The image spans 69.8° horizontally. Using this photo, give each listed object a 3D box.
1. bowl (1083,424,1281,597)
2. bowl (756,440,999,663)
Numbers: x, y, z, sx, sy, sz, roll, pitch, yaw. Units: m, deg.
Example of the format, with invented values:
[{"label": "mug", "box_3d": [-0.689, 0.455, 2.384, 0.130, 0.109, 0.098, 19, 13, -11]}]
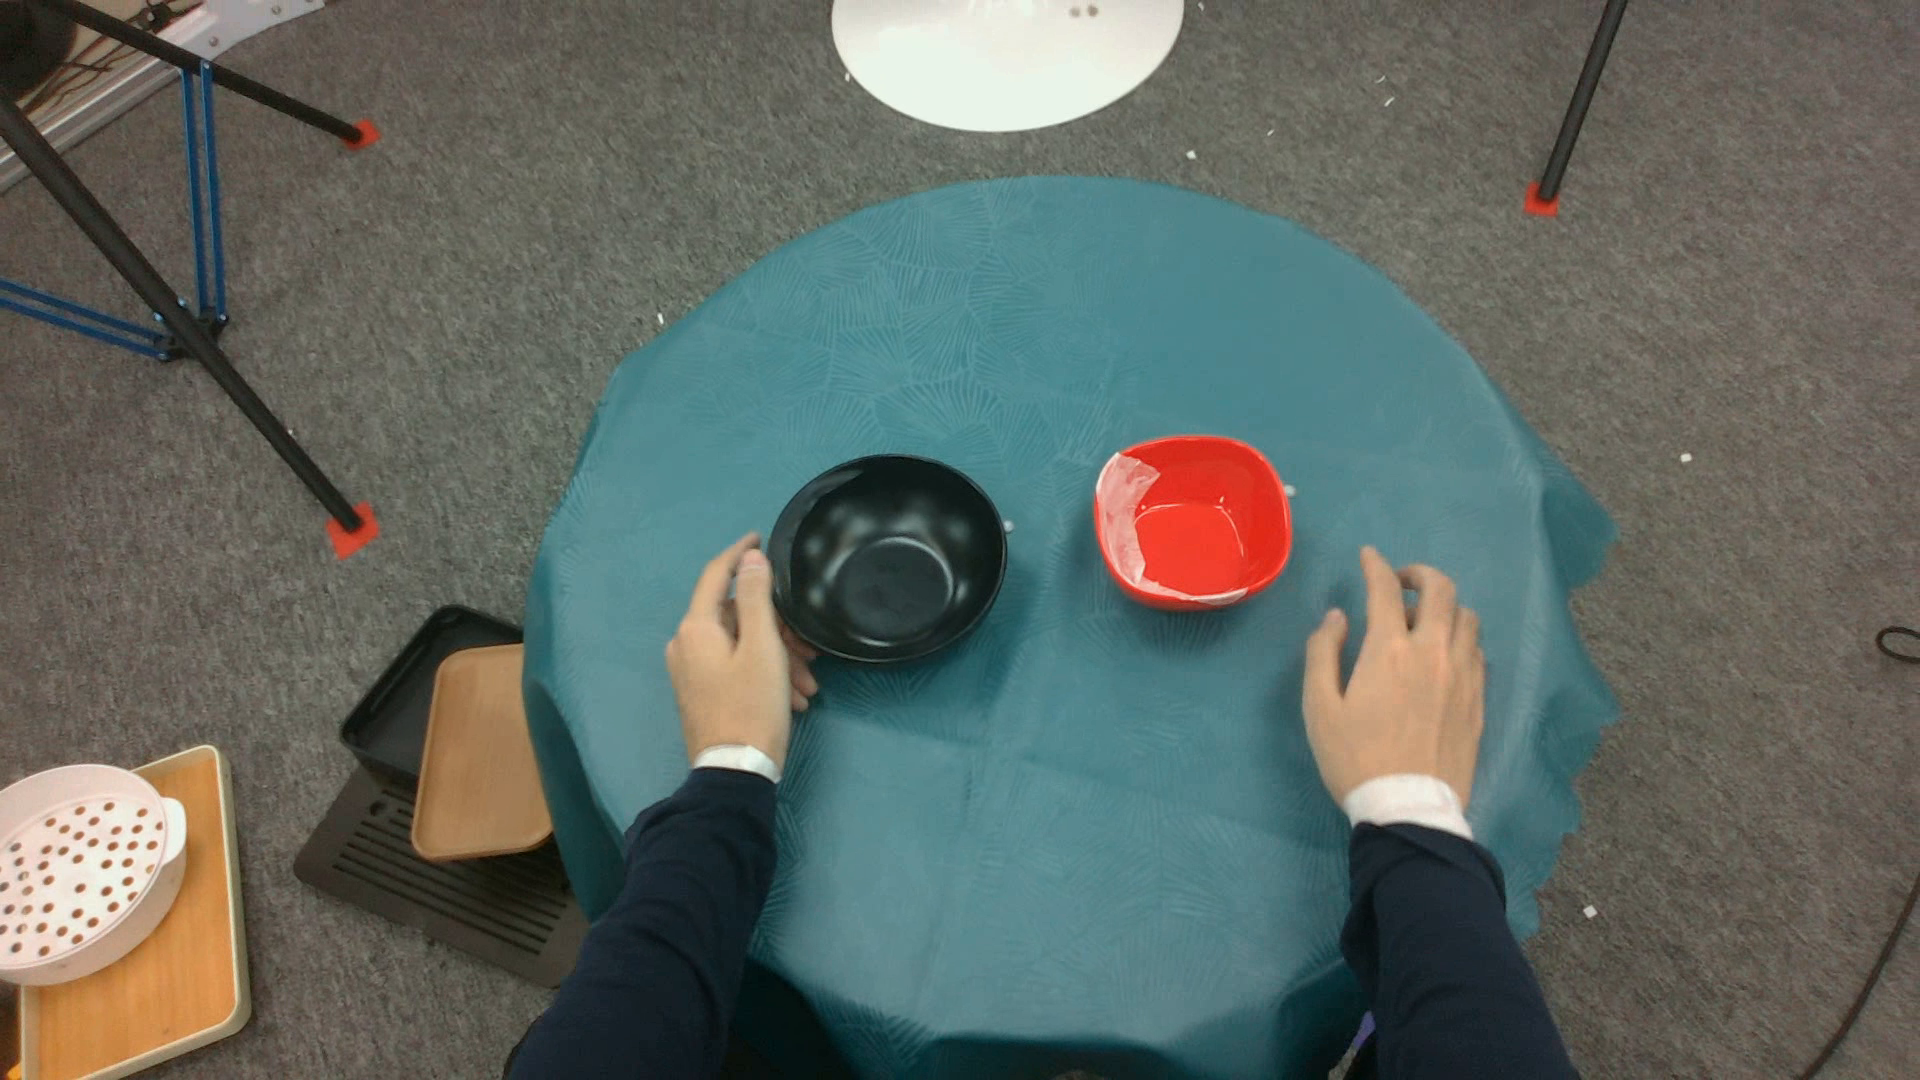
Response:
[{"label": "bowl", "box_3d": [0.126, -0.009, 0.798, 0.119, 0.051, 0.119, -1, 57, 2]}, {"label": "bowl", "box_3d": [-0.046, 0.013, 0.801, 0.140, 0.049, 0.140, -1, 62, 3]}]
